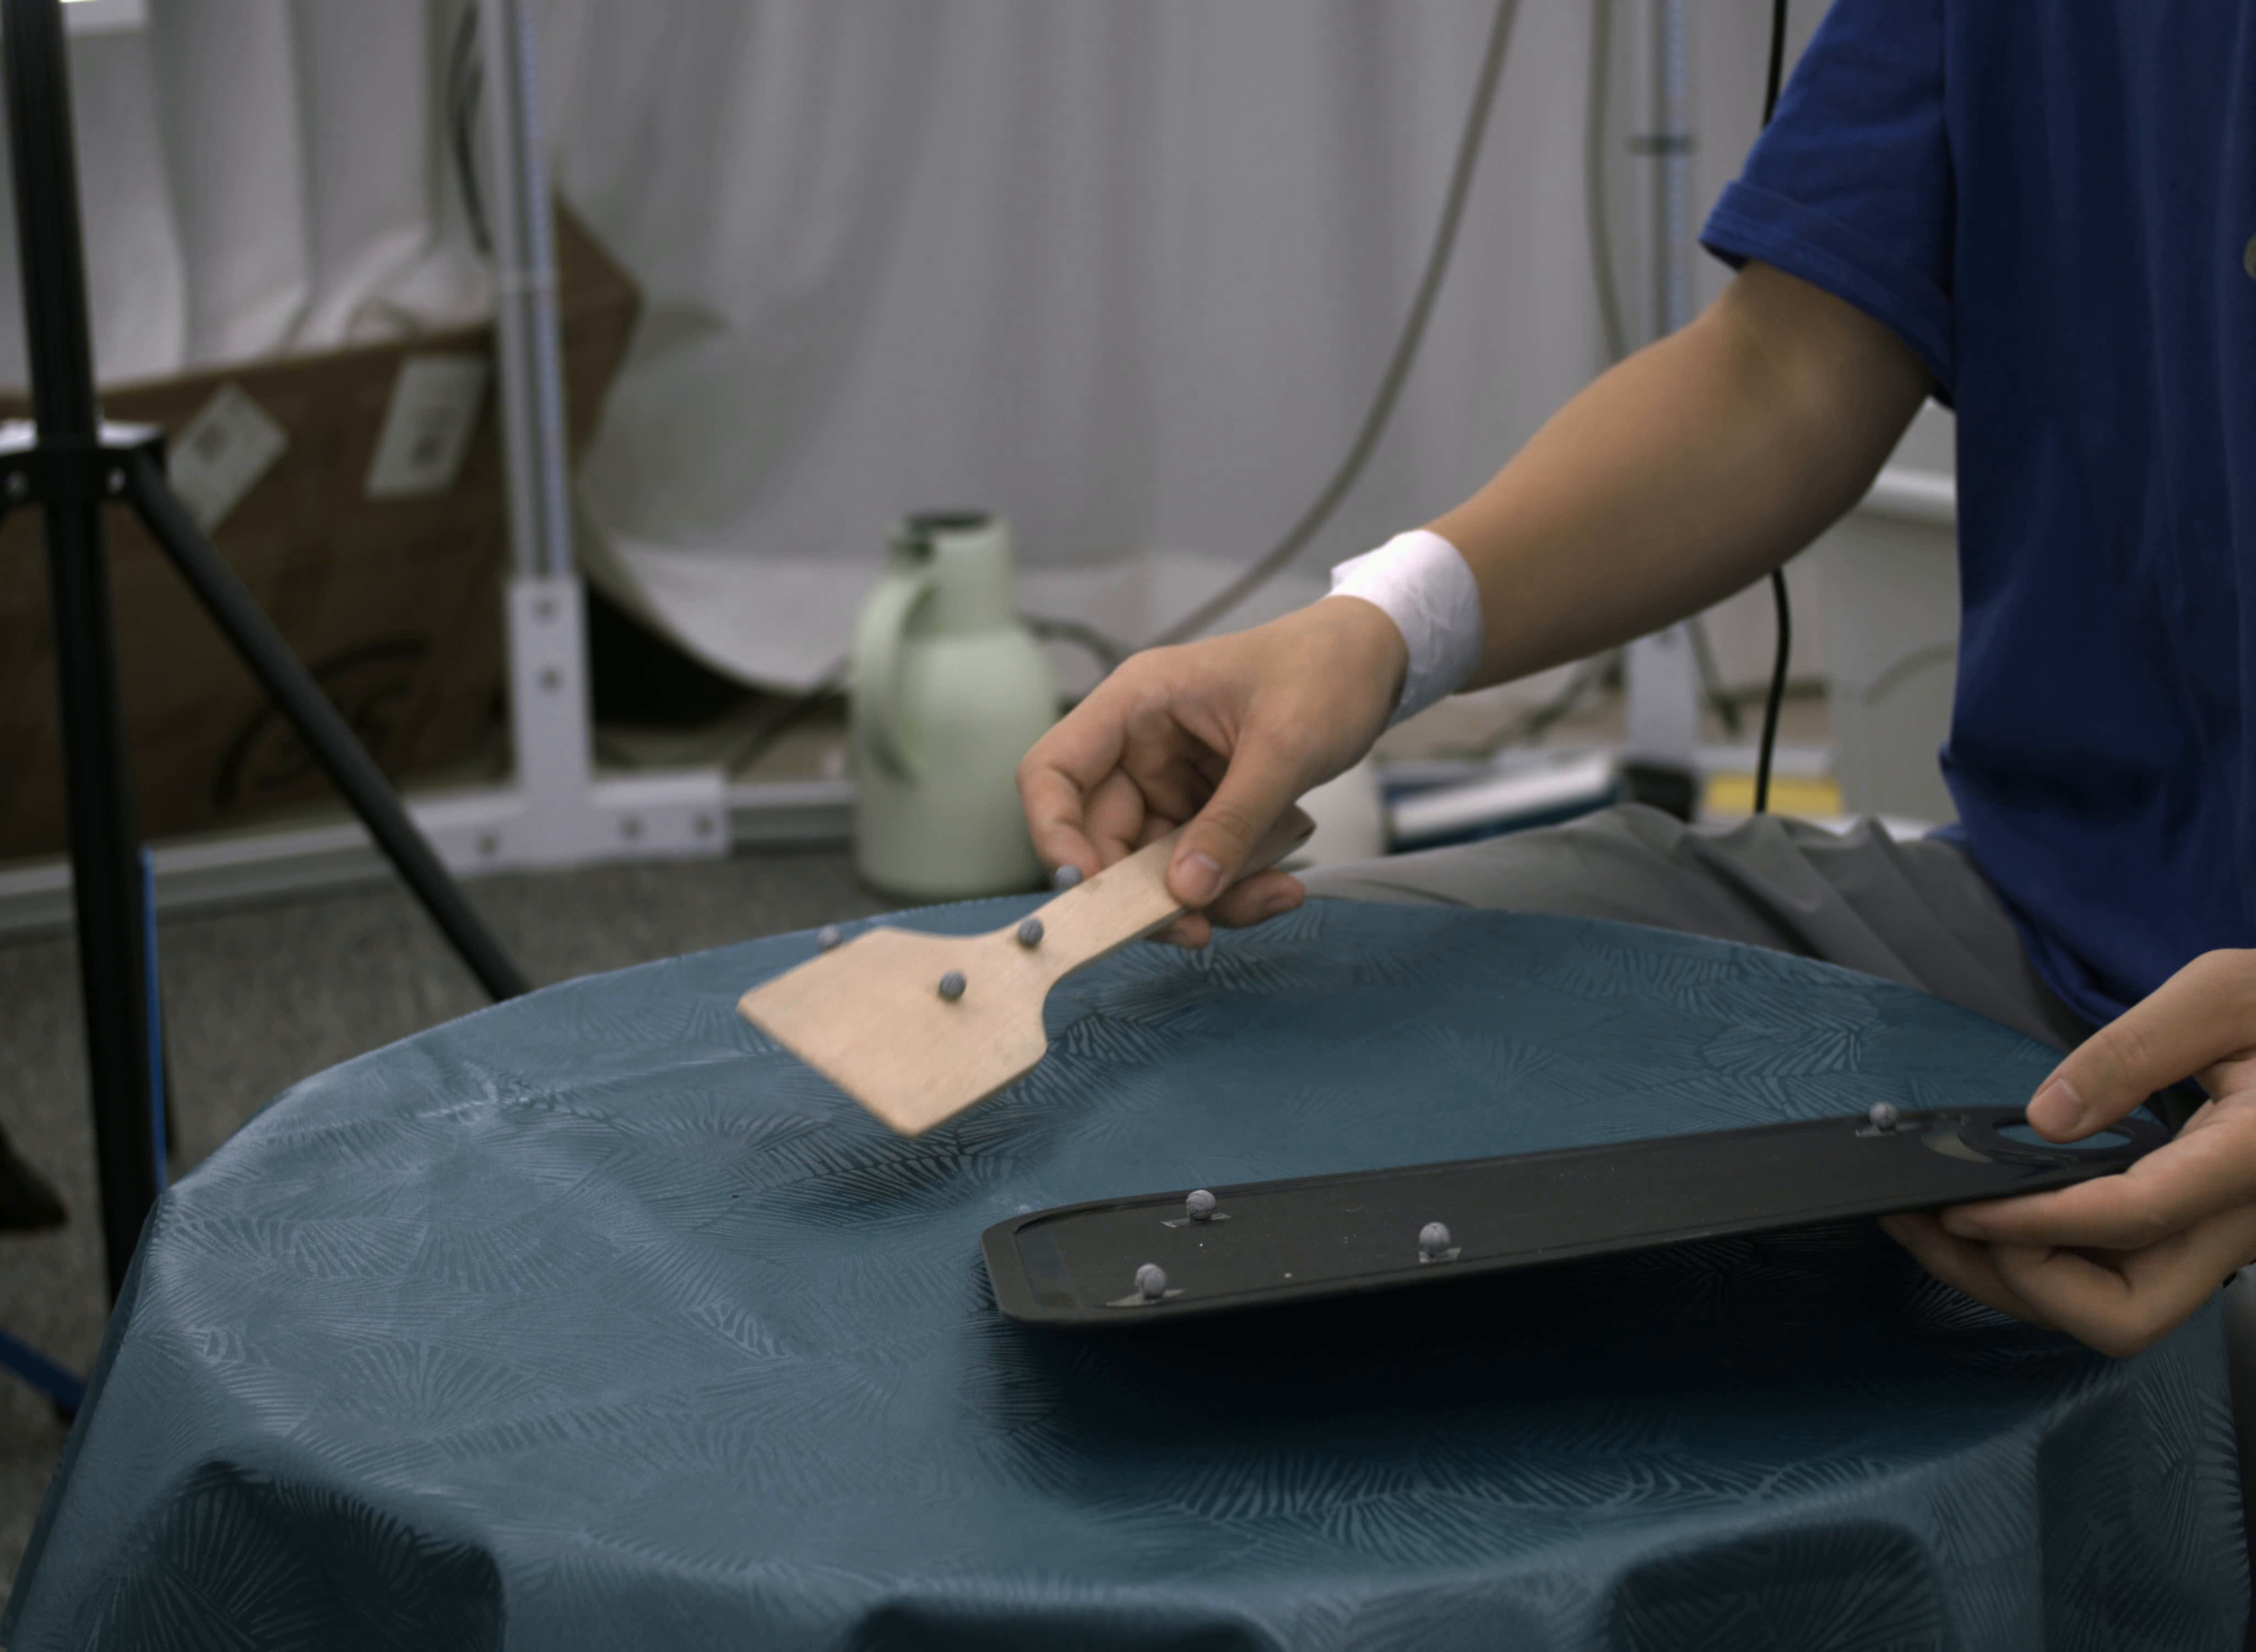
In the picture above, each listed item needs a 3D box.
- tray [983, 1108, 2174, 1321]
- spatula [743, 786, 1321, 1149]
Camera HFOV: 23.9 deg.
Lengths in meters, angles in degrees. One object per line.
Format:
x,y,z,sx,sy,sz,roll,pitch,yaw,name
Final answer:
0.123,0.102,1.445,0.323,0.010,0.211,-6,4,-1,tray
-0.018,0.035,1.676,0.073,0.011,0.288,34,32,18,spatula
